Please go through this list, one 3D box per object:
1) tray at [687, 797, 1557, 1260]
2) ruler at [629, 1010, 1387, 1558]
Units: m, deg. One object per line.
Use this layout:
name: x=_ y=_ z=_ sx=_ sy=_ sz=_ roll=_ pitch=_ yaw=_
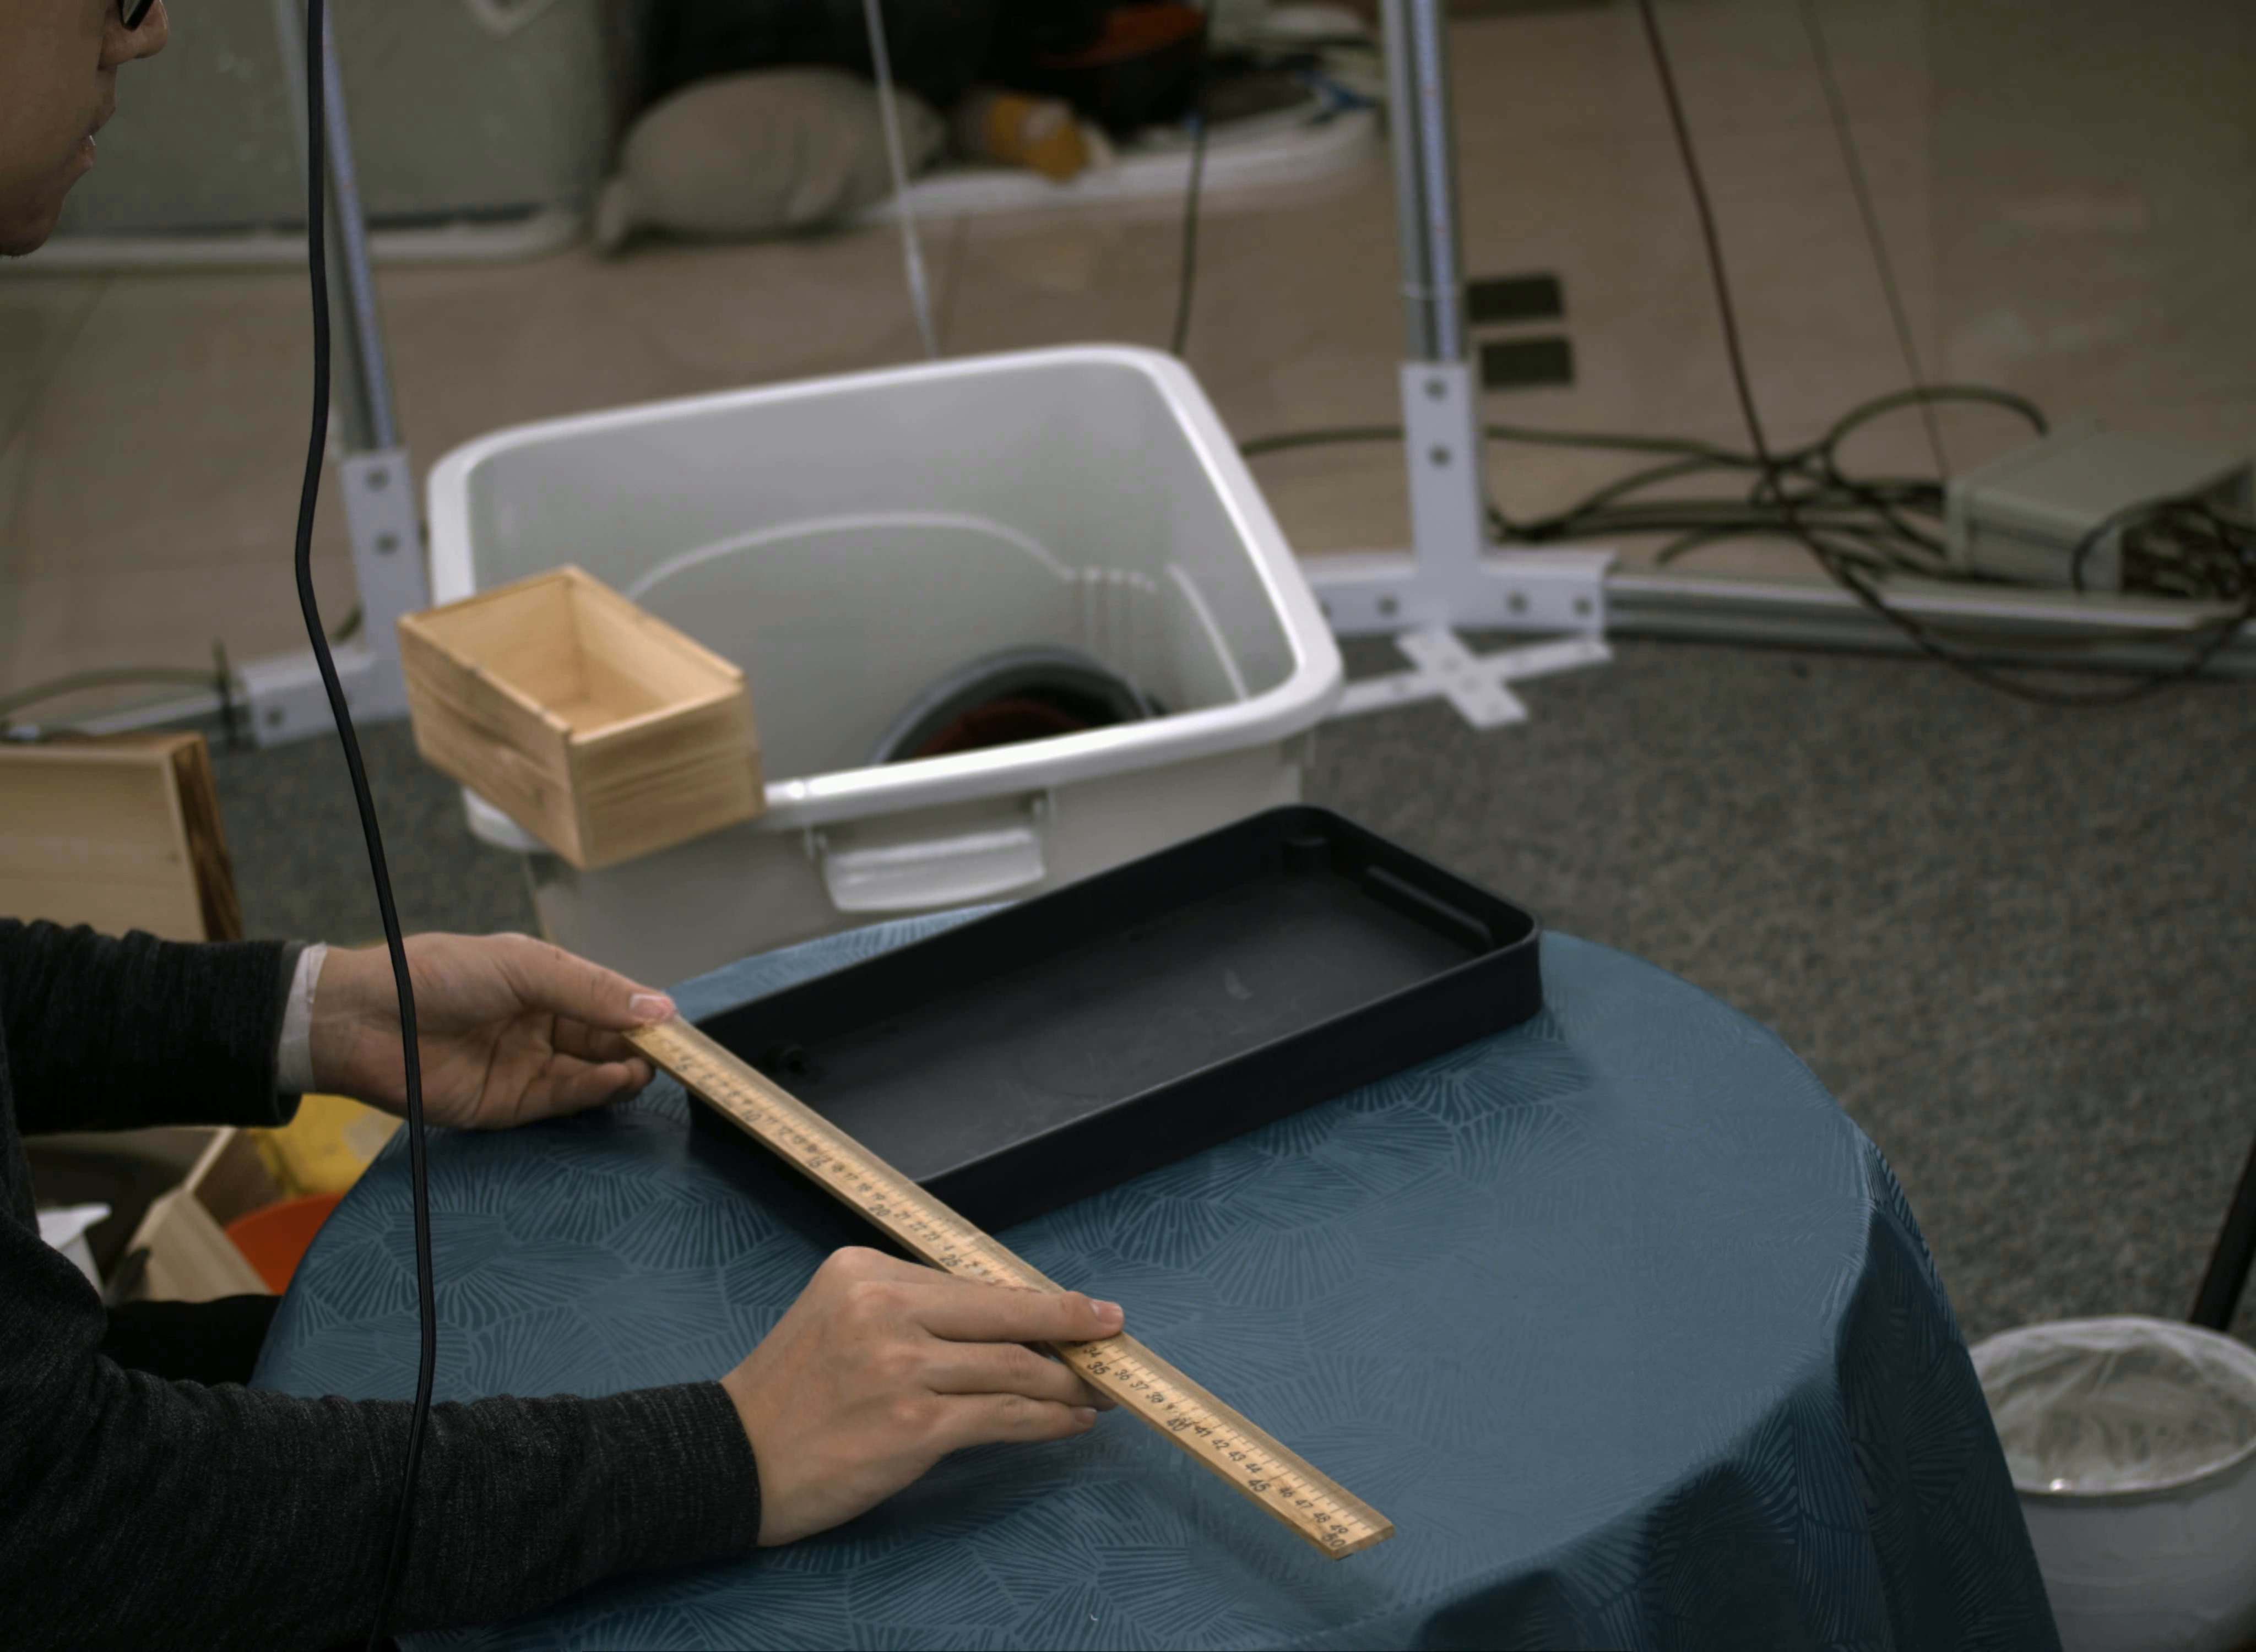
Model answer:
tray: x=-0.001 y=0.075 z=2.243 sx=0.316 sy=0.037 sz=0.182 roll=-21 pitch=28 yaw=-28
ruler: x=-0.057 y=0.156 z=2.041 sx=0.026 sy=0.006 sz=0.495 roll=-23 pitch=30 yaw=-25
